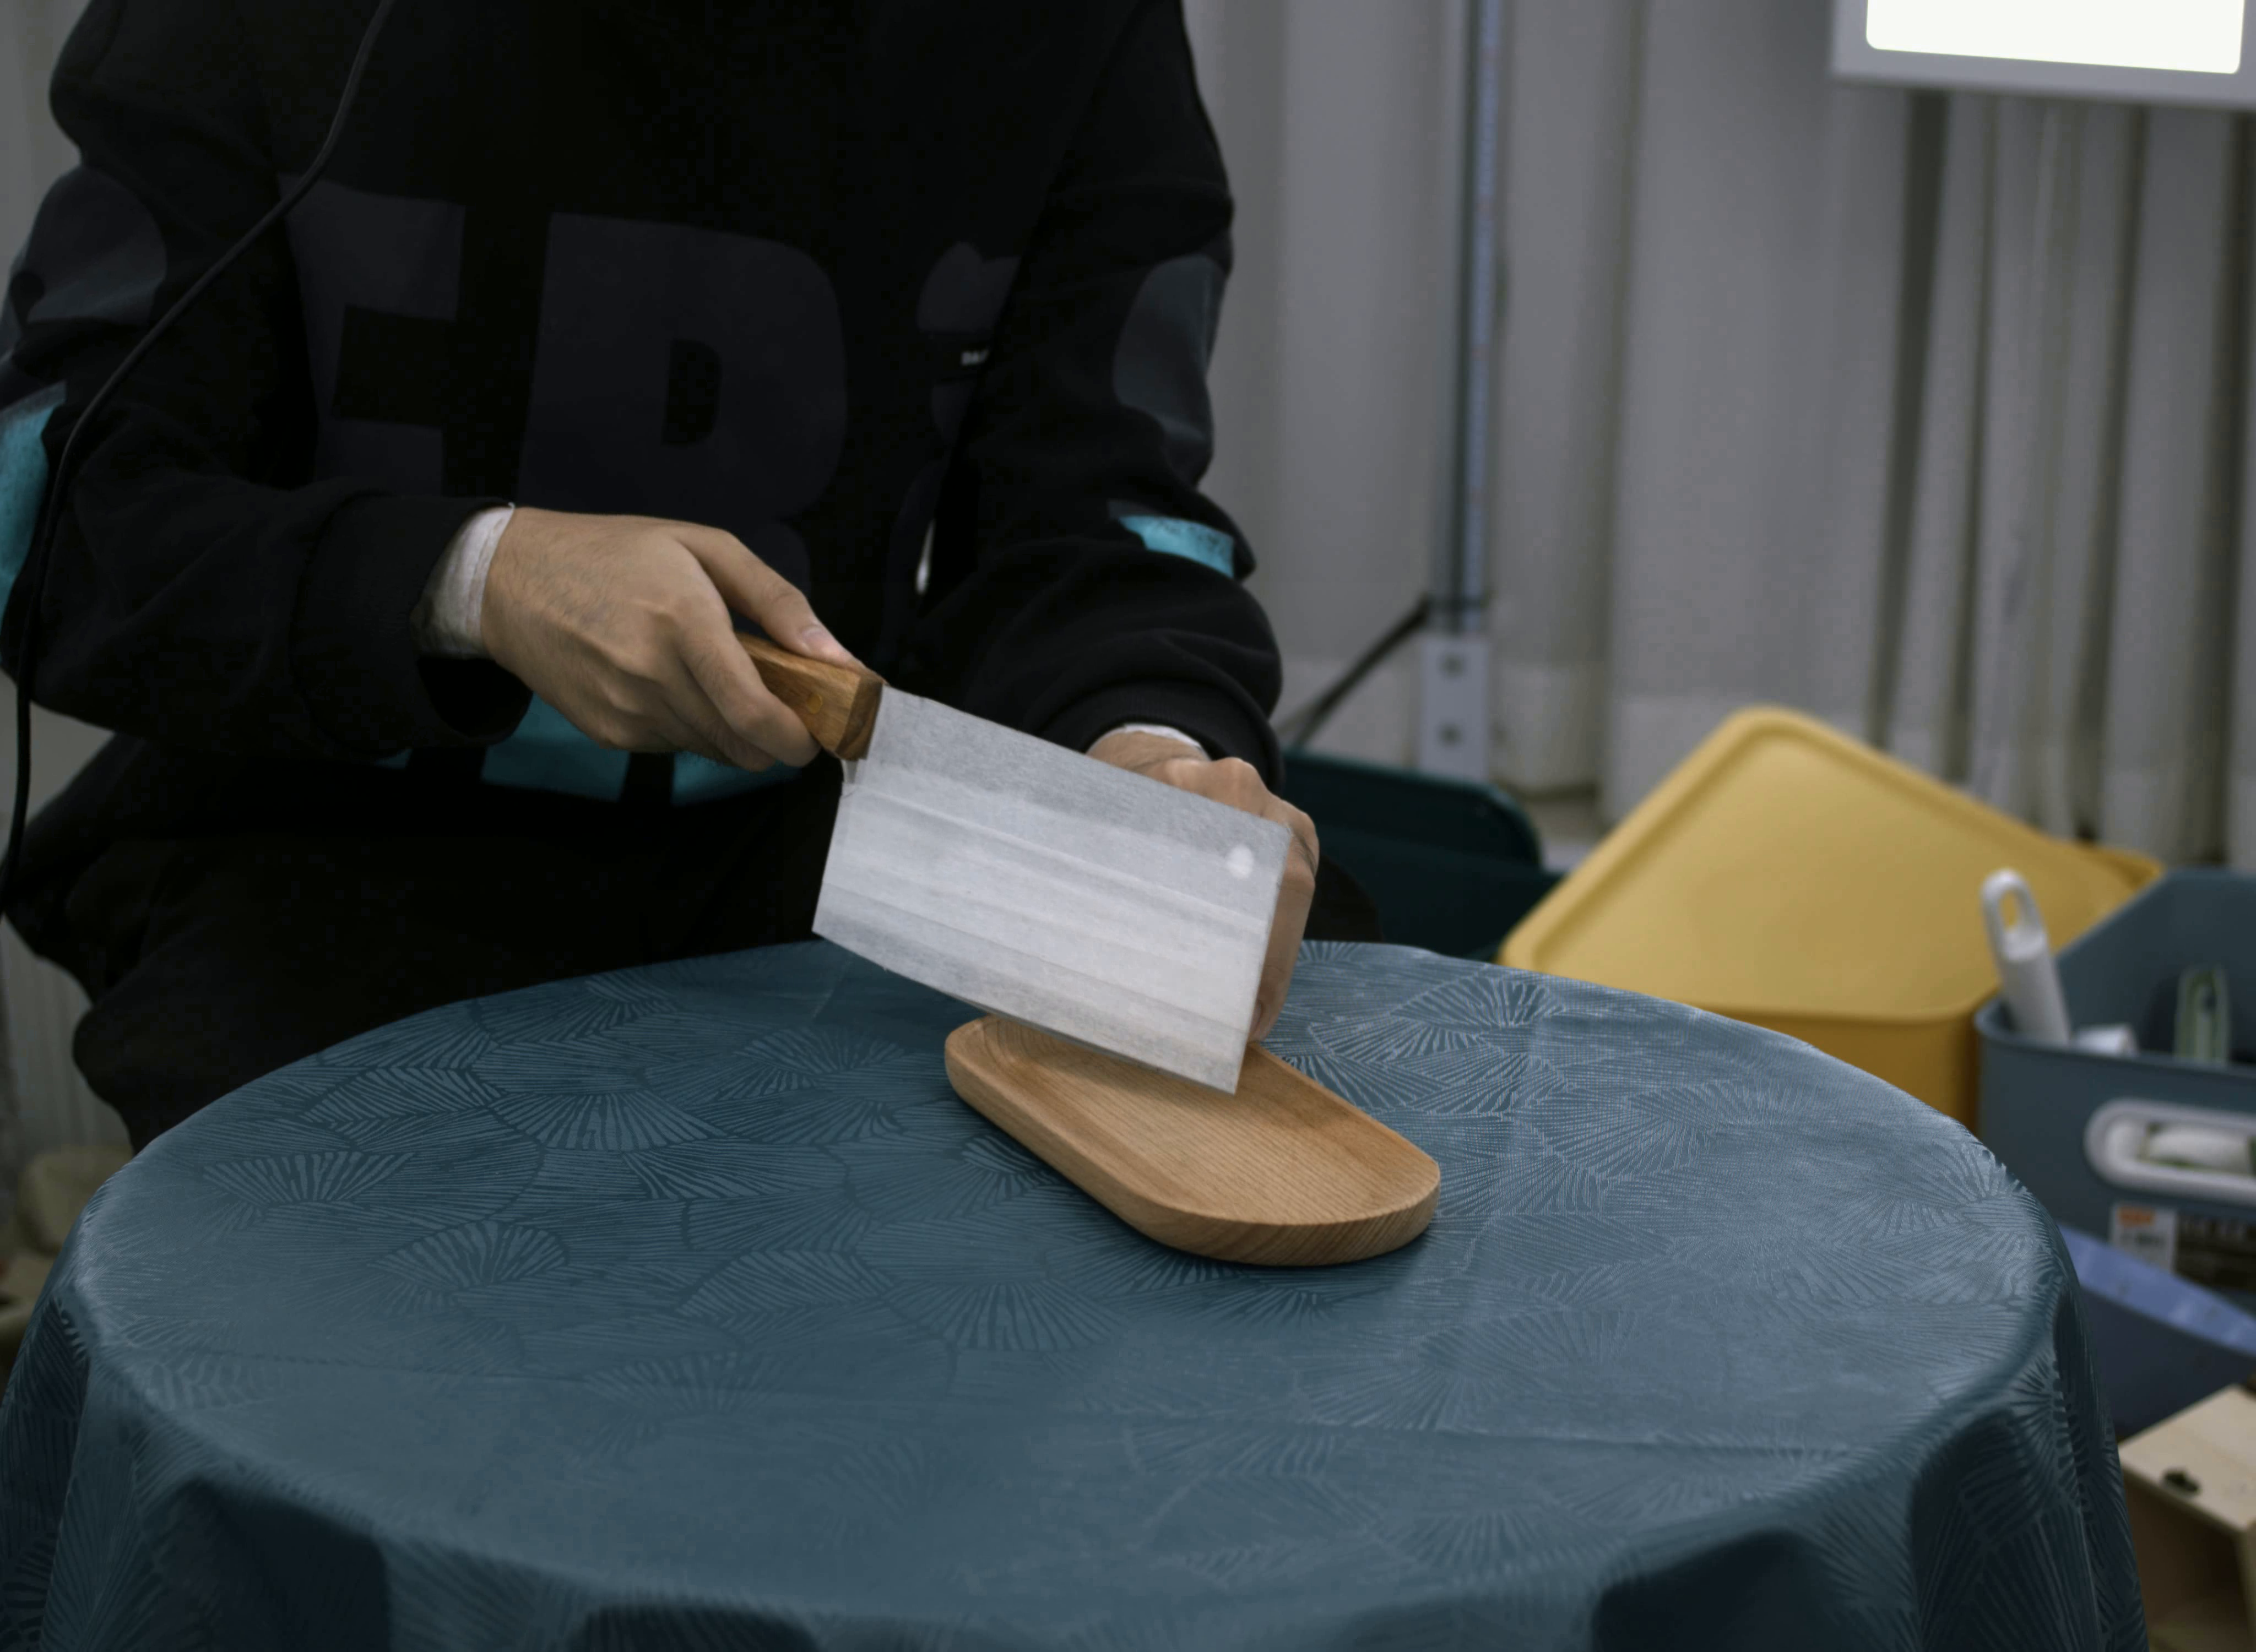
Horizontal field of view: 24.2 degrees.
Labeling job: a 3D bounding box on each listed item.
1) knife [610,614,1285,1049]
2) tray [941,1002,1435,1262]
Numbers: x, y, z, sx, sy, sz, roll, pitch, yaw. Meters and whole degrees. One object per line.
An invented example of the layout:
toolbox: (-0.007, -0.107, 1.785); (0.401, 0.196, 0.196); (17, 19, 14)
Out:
knife: (-0.068, 0.003, 1.746); (0.301, 0.093, 0.021); (20, 13, 37)
tray: (0.016, 0.093, 1.658); (0.102, 0.020, 0.228); (-4, 15, -24)
